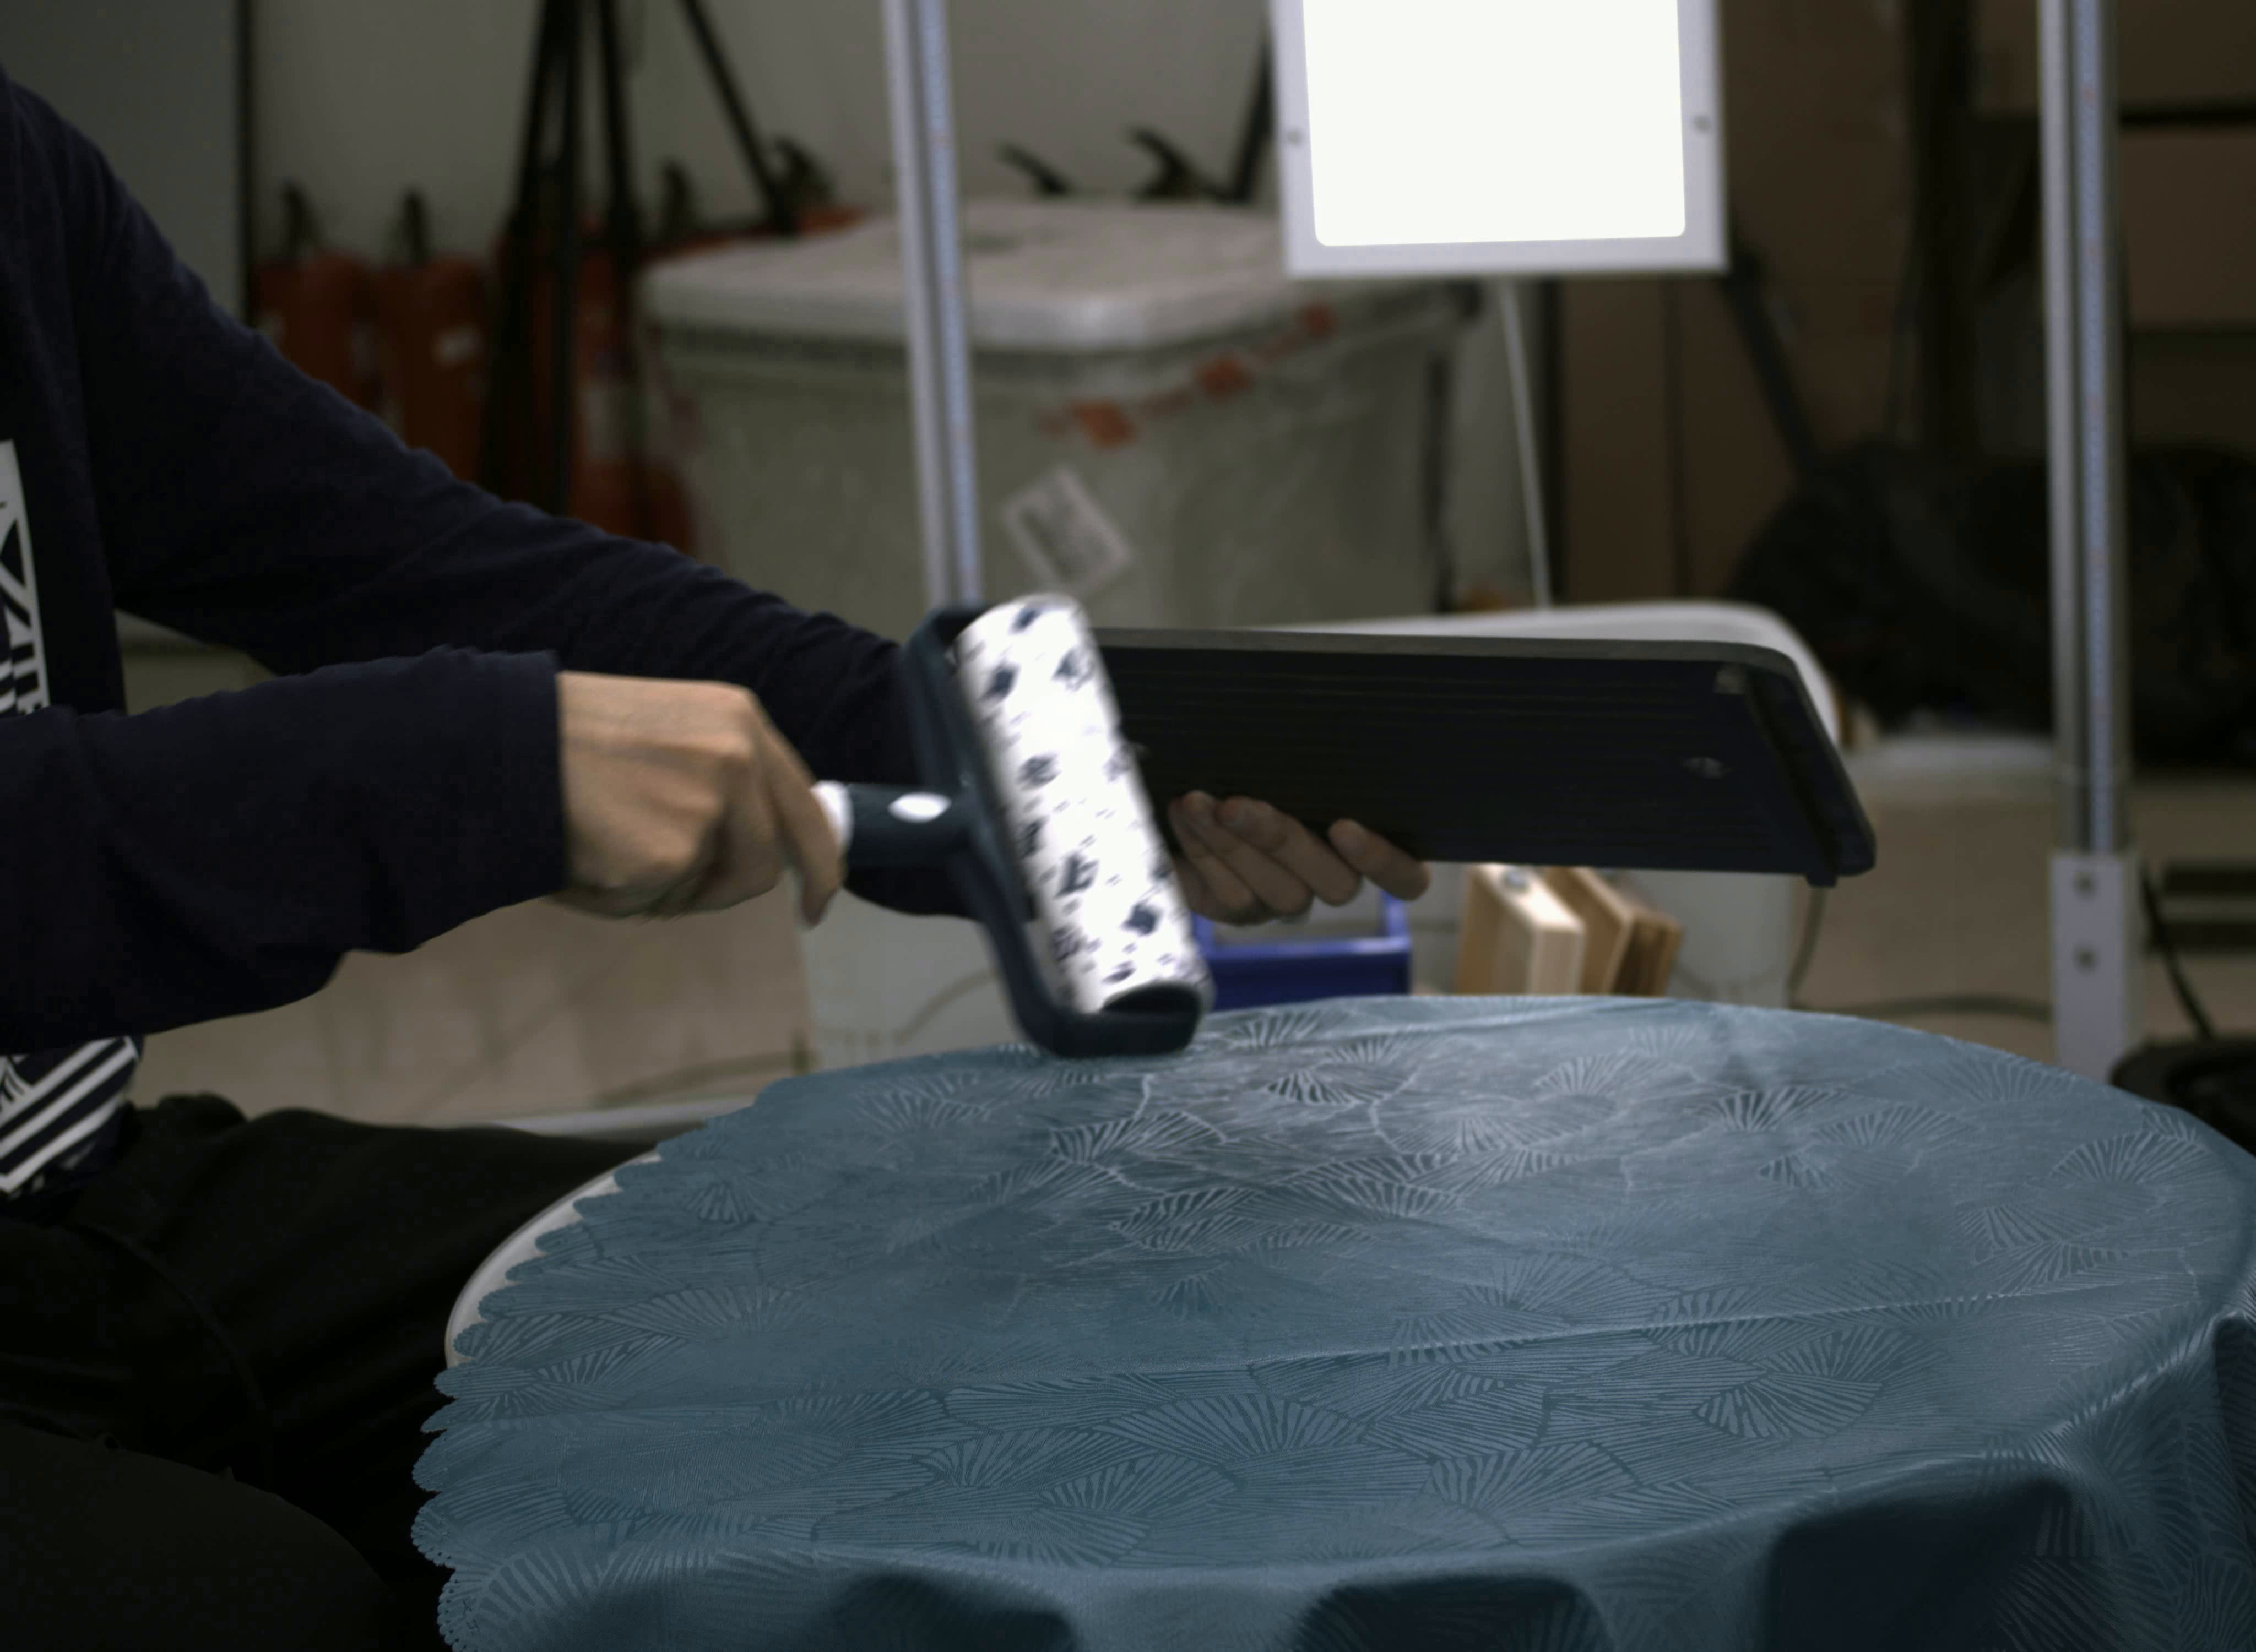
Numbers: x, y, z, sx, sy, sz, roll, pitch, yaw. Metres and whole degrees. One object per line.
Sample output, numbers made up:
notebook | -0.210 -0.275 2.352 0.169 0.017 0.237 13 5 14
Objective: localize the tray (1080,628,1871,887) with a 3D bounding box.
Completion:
tray | 0.100 -0.023 1.948 0.310 0.018 0.168 1 -26 24

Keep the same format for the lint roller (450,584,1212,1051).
lint roller | -0.102 -0.002 1.813 0.242 0.177 0.051 -1 -34 -27
